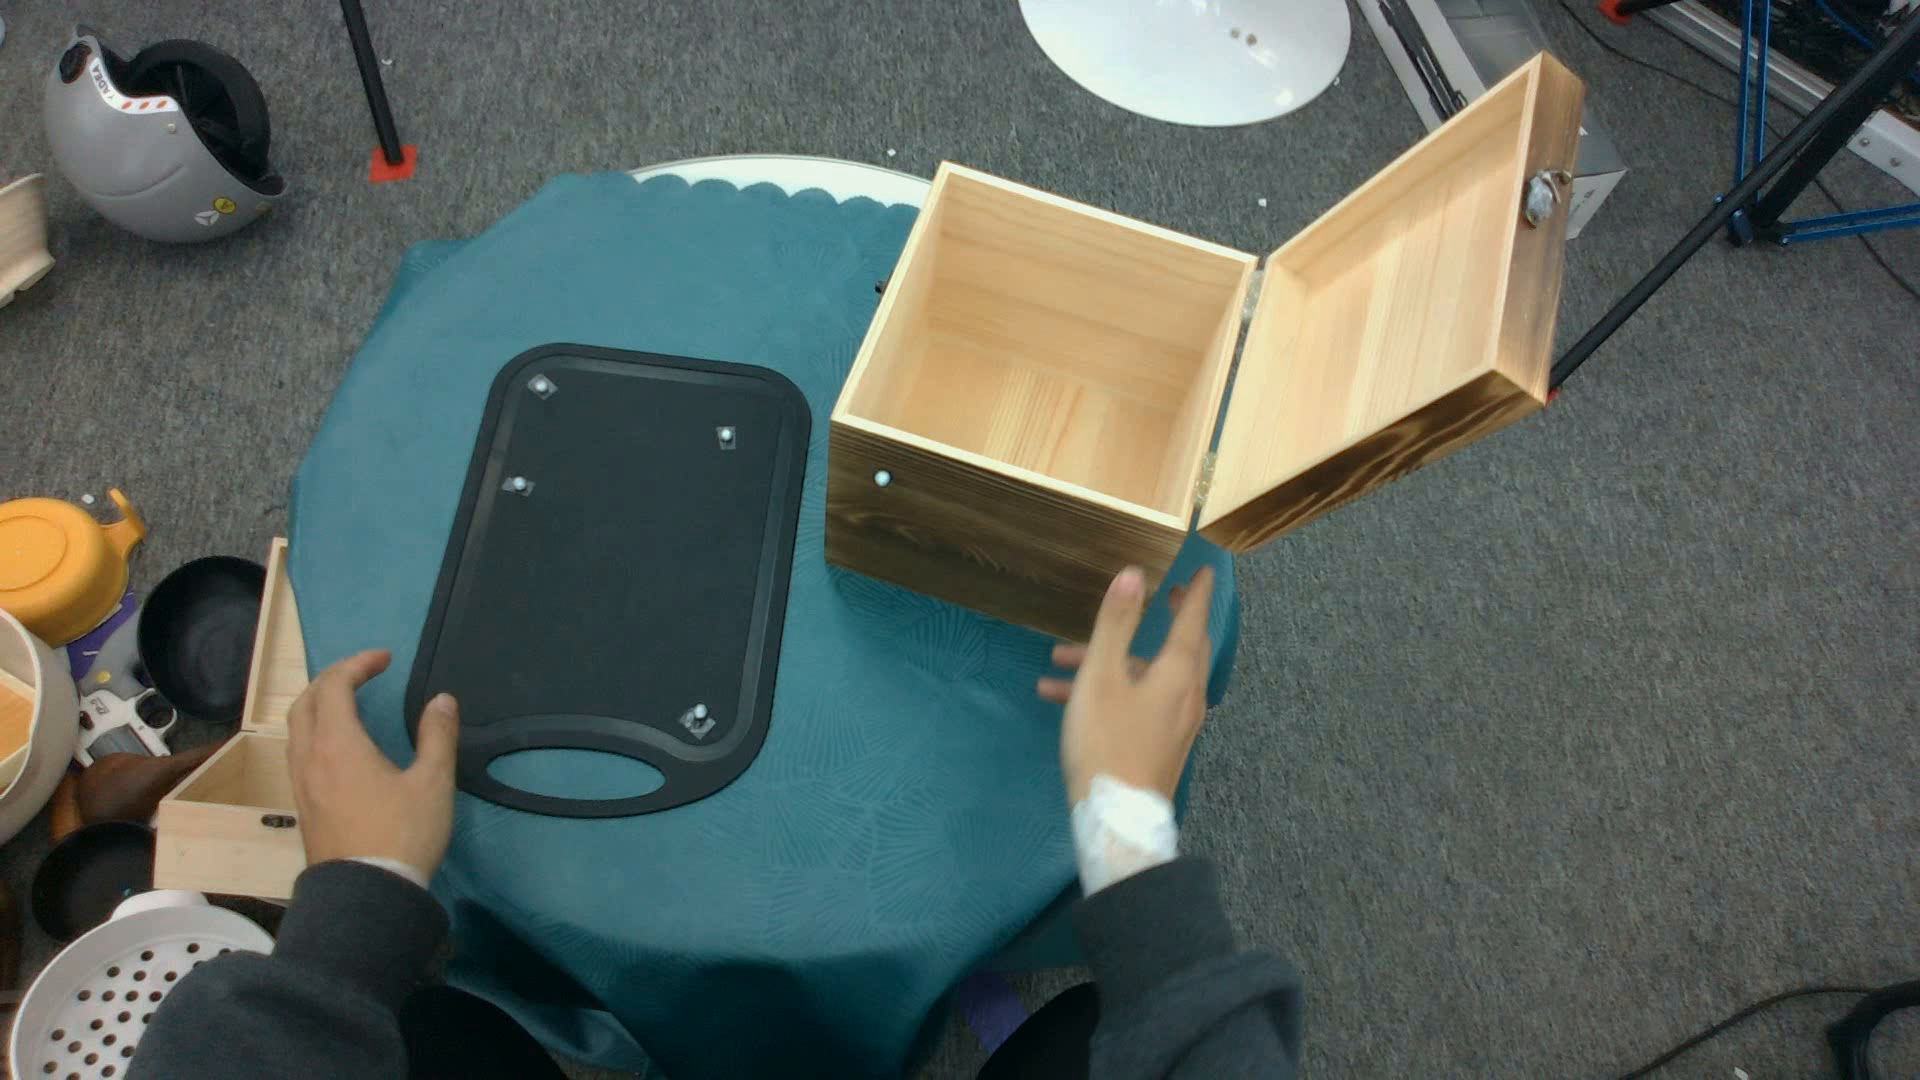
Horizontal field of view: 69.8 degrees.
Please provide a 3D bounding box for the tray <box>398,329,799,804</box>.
[{"bbox_3d":[-0.217,0.005,0.856,0.211,0.010,0.327,6,61,-5],"label":"tray"}]

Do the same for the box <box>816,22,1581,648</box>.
[{"bbox_3d":[0.101,-0.116,0.767,0.322,0.373,0.209,18,60,1],"label":"box"}]
